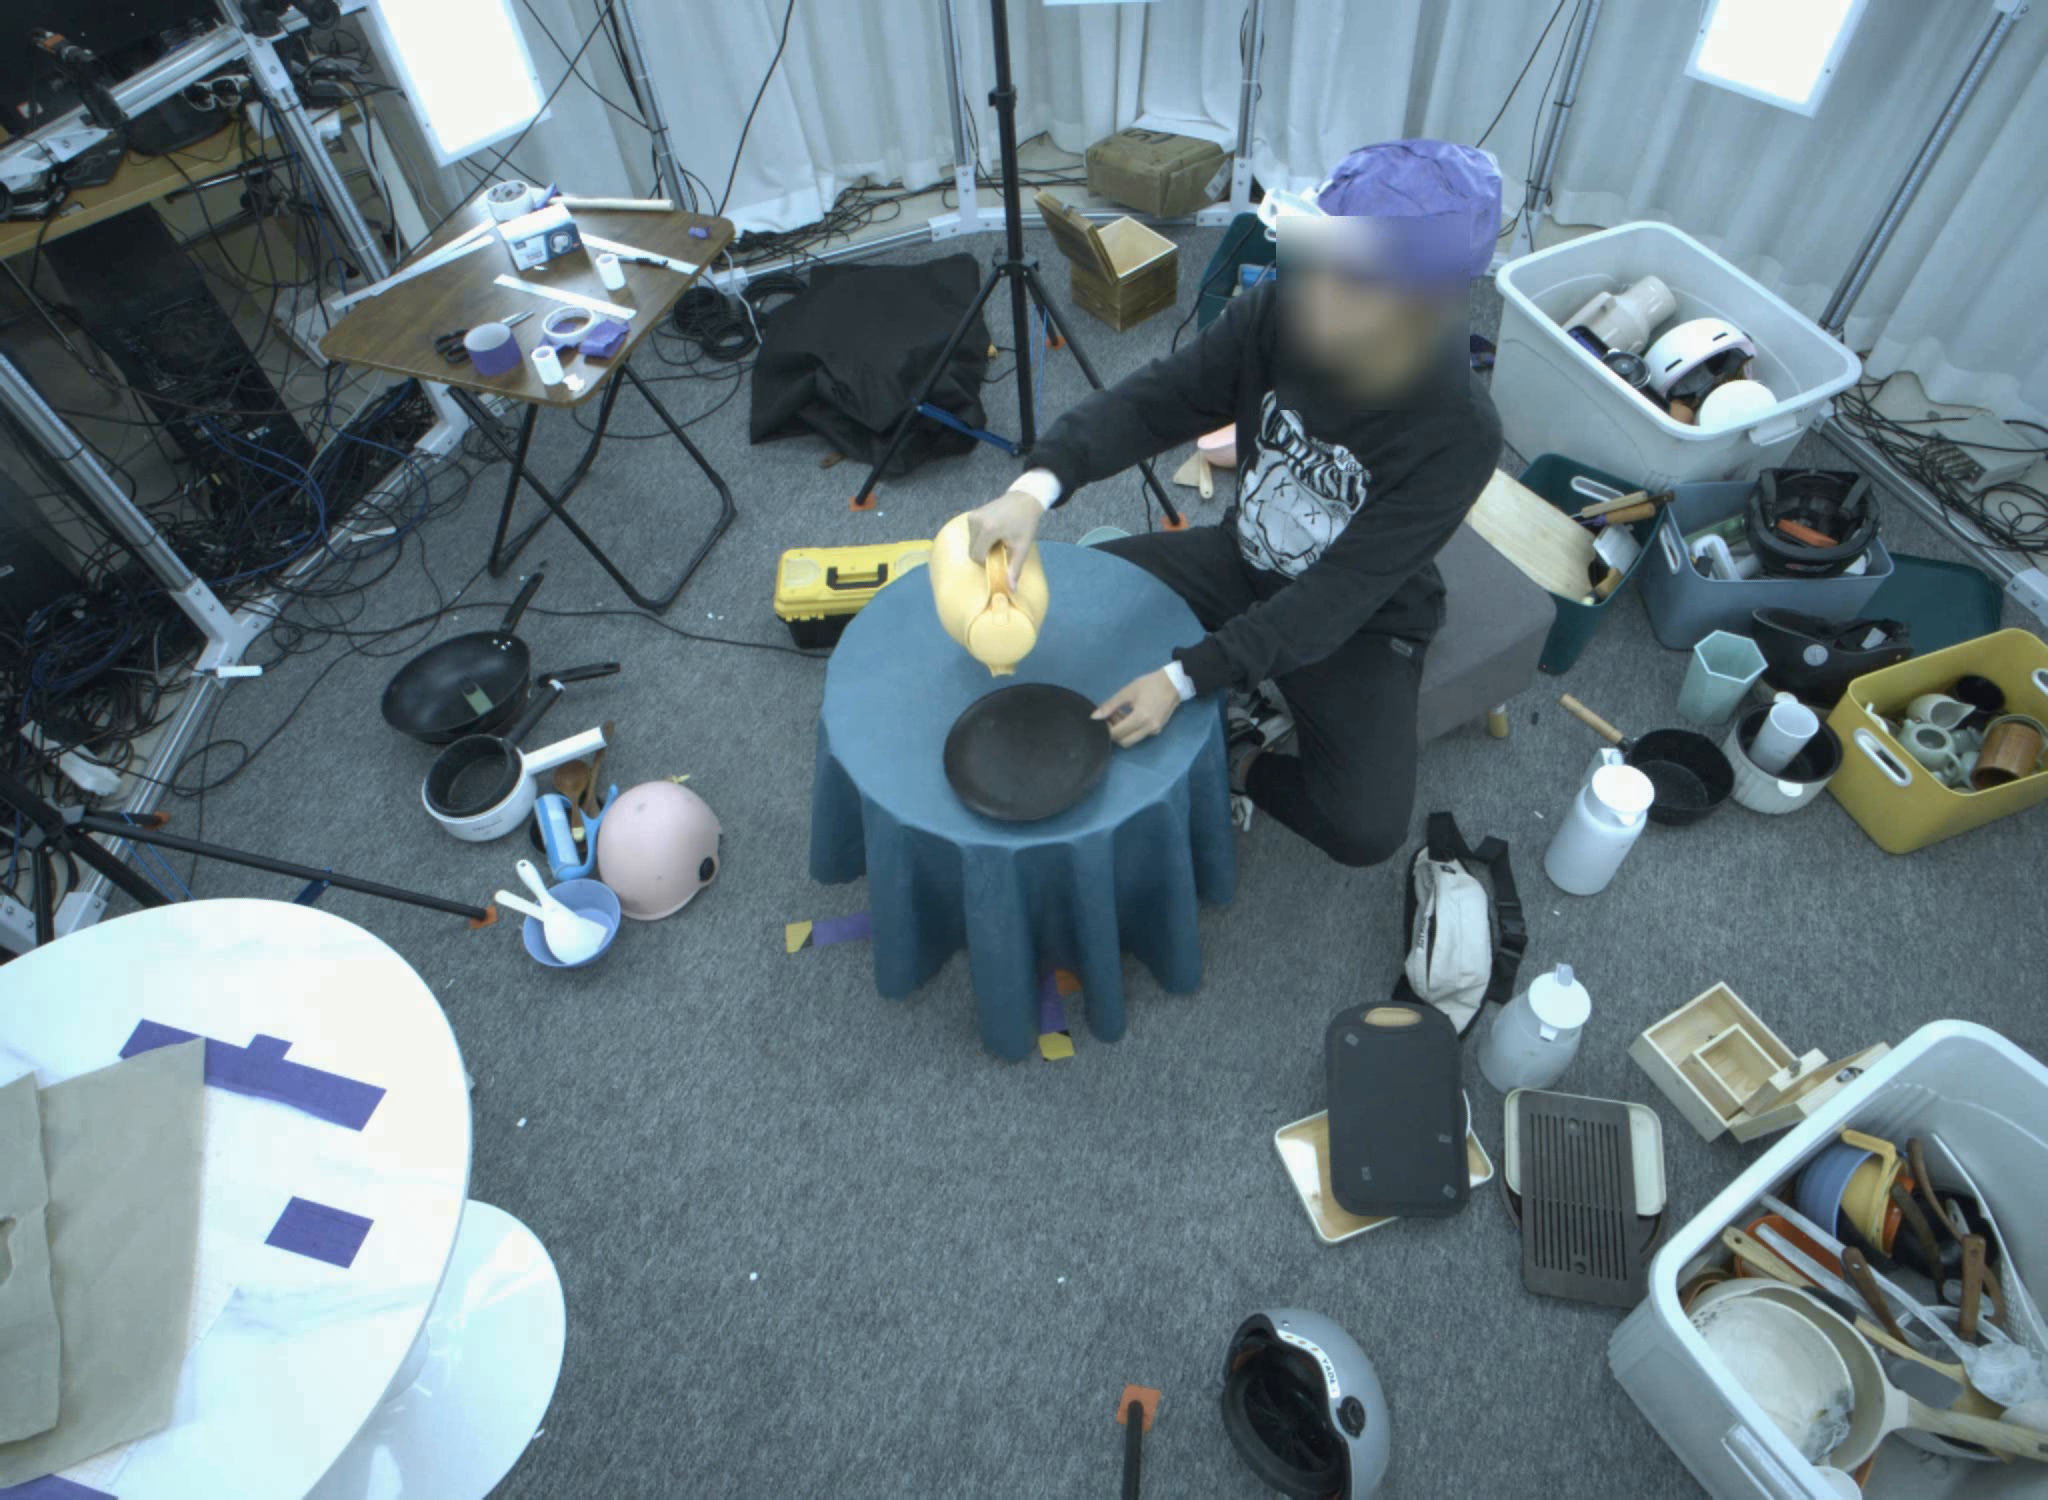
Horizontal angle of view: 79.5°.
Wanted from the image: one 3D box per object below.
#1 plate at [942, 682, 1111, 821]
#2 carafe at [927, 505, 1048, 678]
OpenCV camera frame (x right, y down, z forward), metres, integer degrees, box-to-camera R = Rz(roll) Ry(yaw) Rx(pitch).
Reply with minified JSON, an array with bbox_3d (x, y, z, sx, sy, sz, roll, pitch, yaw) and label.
[{"bbox_3d":[0.004,0.003,1.757,0.243,0.024,0.242,-3,54,6],"label":"plate"},{"bbox_3d":[-0.046,-0.238,1.711,0.165,0.204,0.256,-5,41,-9],"label":"carafe"}]
